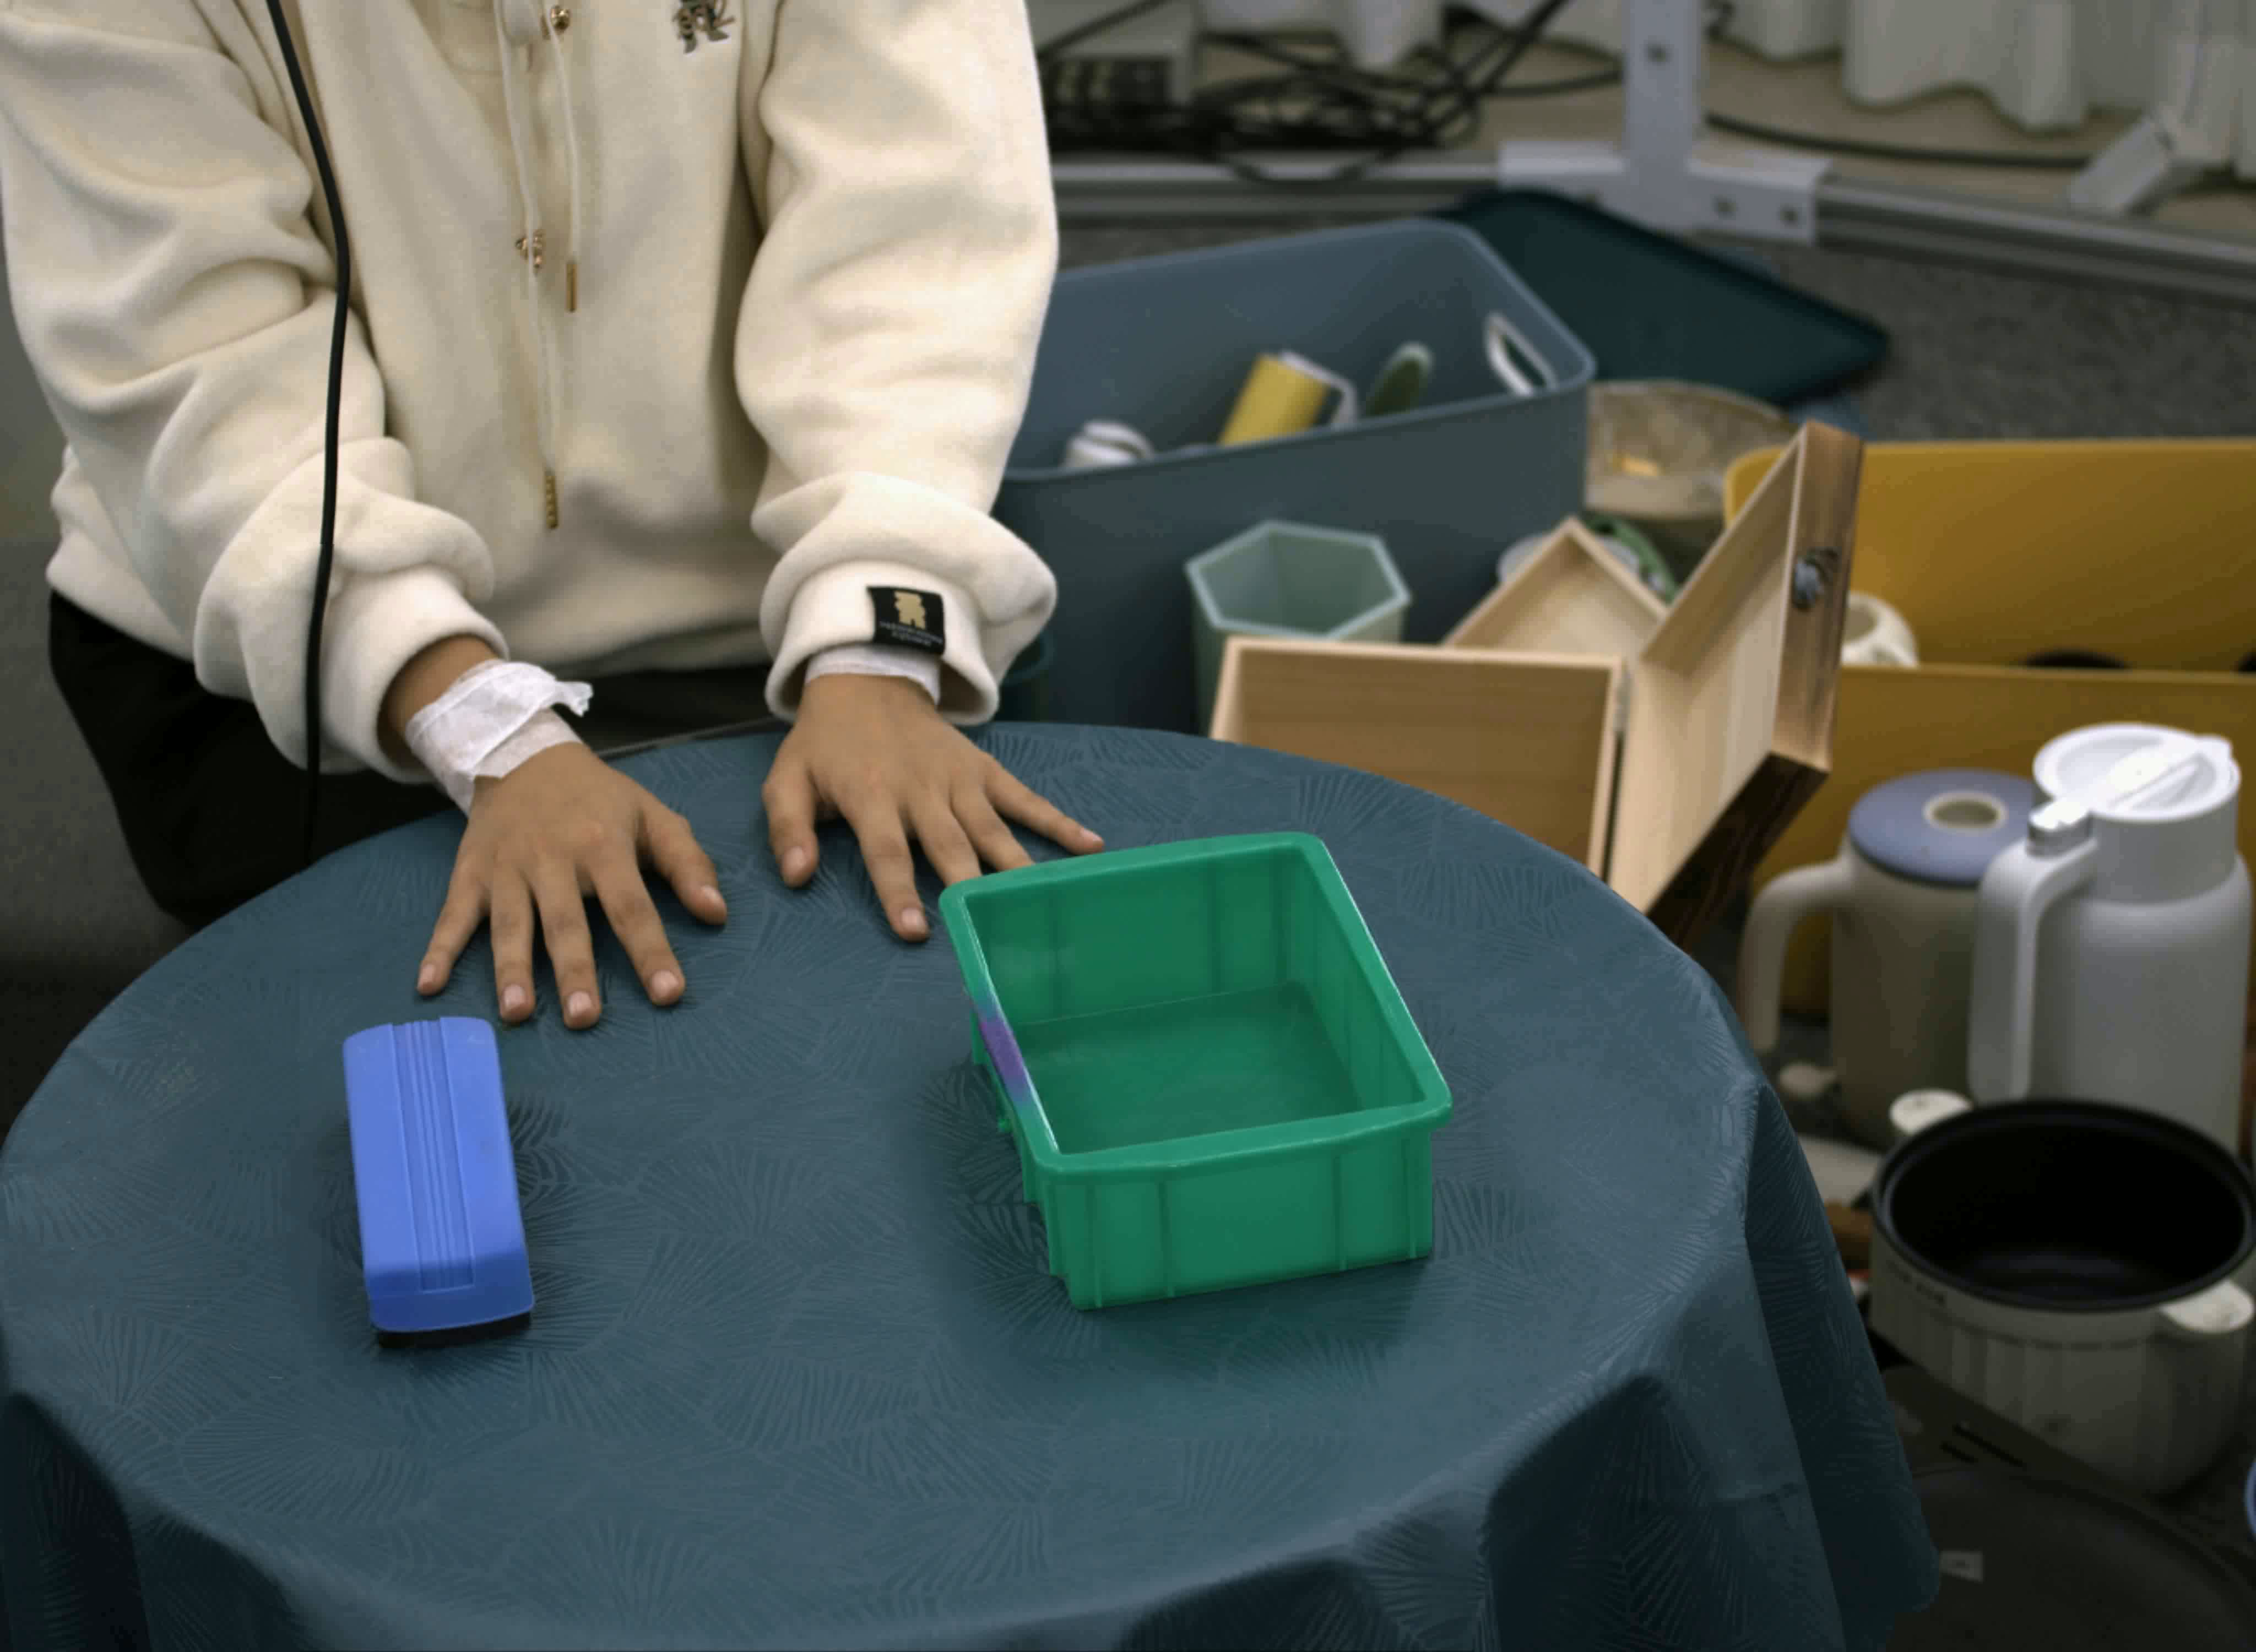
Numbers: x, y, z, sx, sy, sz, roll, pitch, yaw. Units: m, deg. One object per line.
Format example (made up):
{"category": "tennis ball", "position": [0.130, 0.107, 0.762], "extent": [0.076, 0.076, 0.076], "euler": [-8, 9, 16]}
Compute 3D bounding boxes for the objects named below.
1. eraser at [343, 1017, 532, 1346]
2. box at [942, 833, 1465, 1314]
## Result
{"category": "eraser", "position": [-0.230, 0.111, 1.854], "extent": [0.054, 0.047, 0.164], "euler": [-7, 28, -8]}
{"category": "box", "position": [0.023, 0.082, 1.869], "extent": [0.138, 0.064, 0.213], "euler": [-10, 28, -10]}
